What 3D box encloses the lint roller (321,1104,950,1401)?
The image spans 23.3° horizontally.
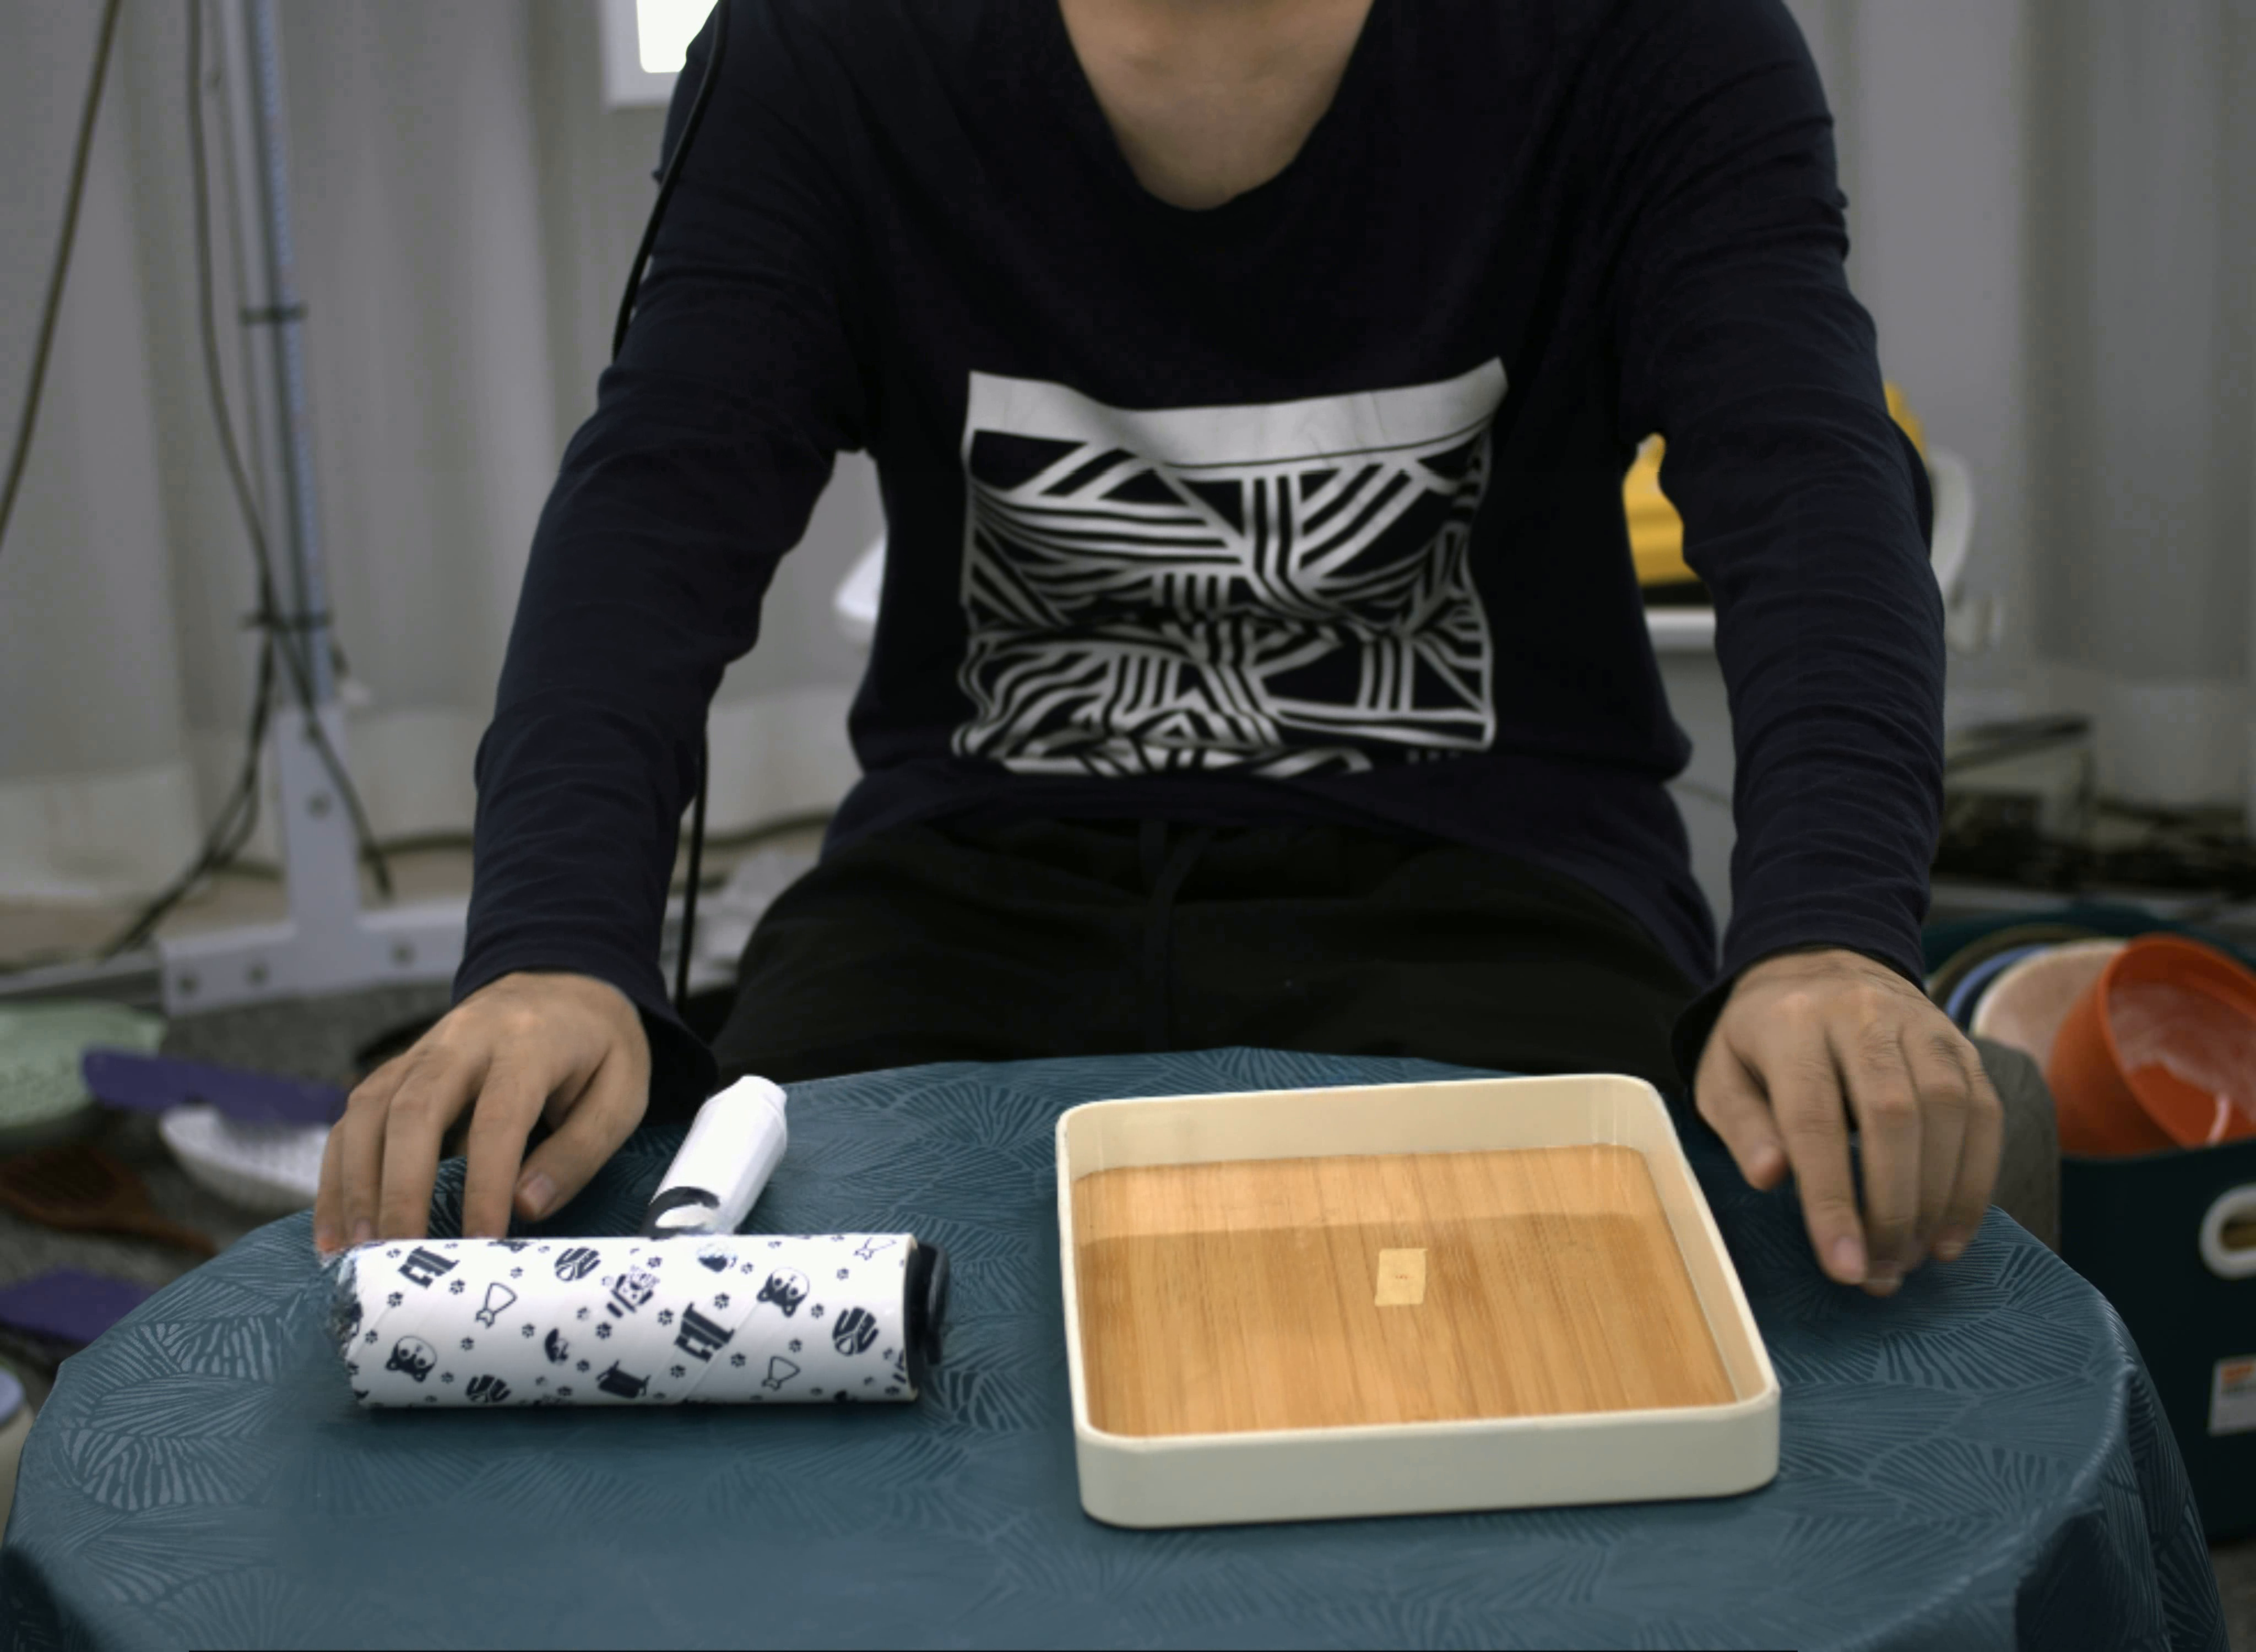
[{"bbox_3d":[-0.134,0.118,1.652,0.176,0.050,0.248,-2,12,4],"label":"lint roller"}]

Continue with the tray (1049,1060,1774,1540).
[{"bbox_3d":[0.074,0.132,1.584,0.191,0.027,0.302,-5,15,0],"label":"tray"}]
